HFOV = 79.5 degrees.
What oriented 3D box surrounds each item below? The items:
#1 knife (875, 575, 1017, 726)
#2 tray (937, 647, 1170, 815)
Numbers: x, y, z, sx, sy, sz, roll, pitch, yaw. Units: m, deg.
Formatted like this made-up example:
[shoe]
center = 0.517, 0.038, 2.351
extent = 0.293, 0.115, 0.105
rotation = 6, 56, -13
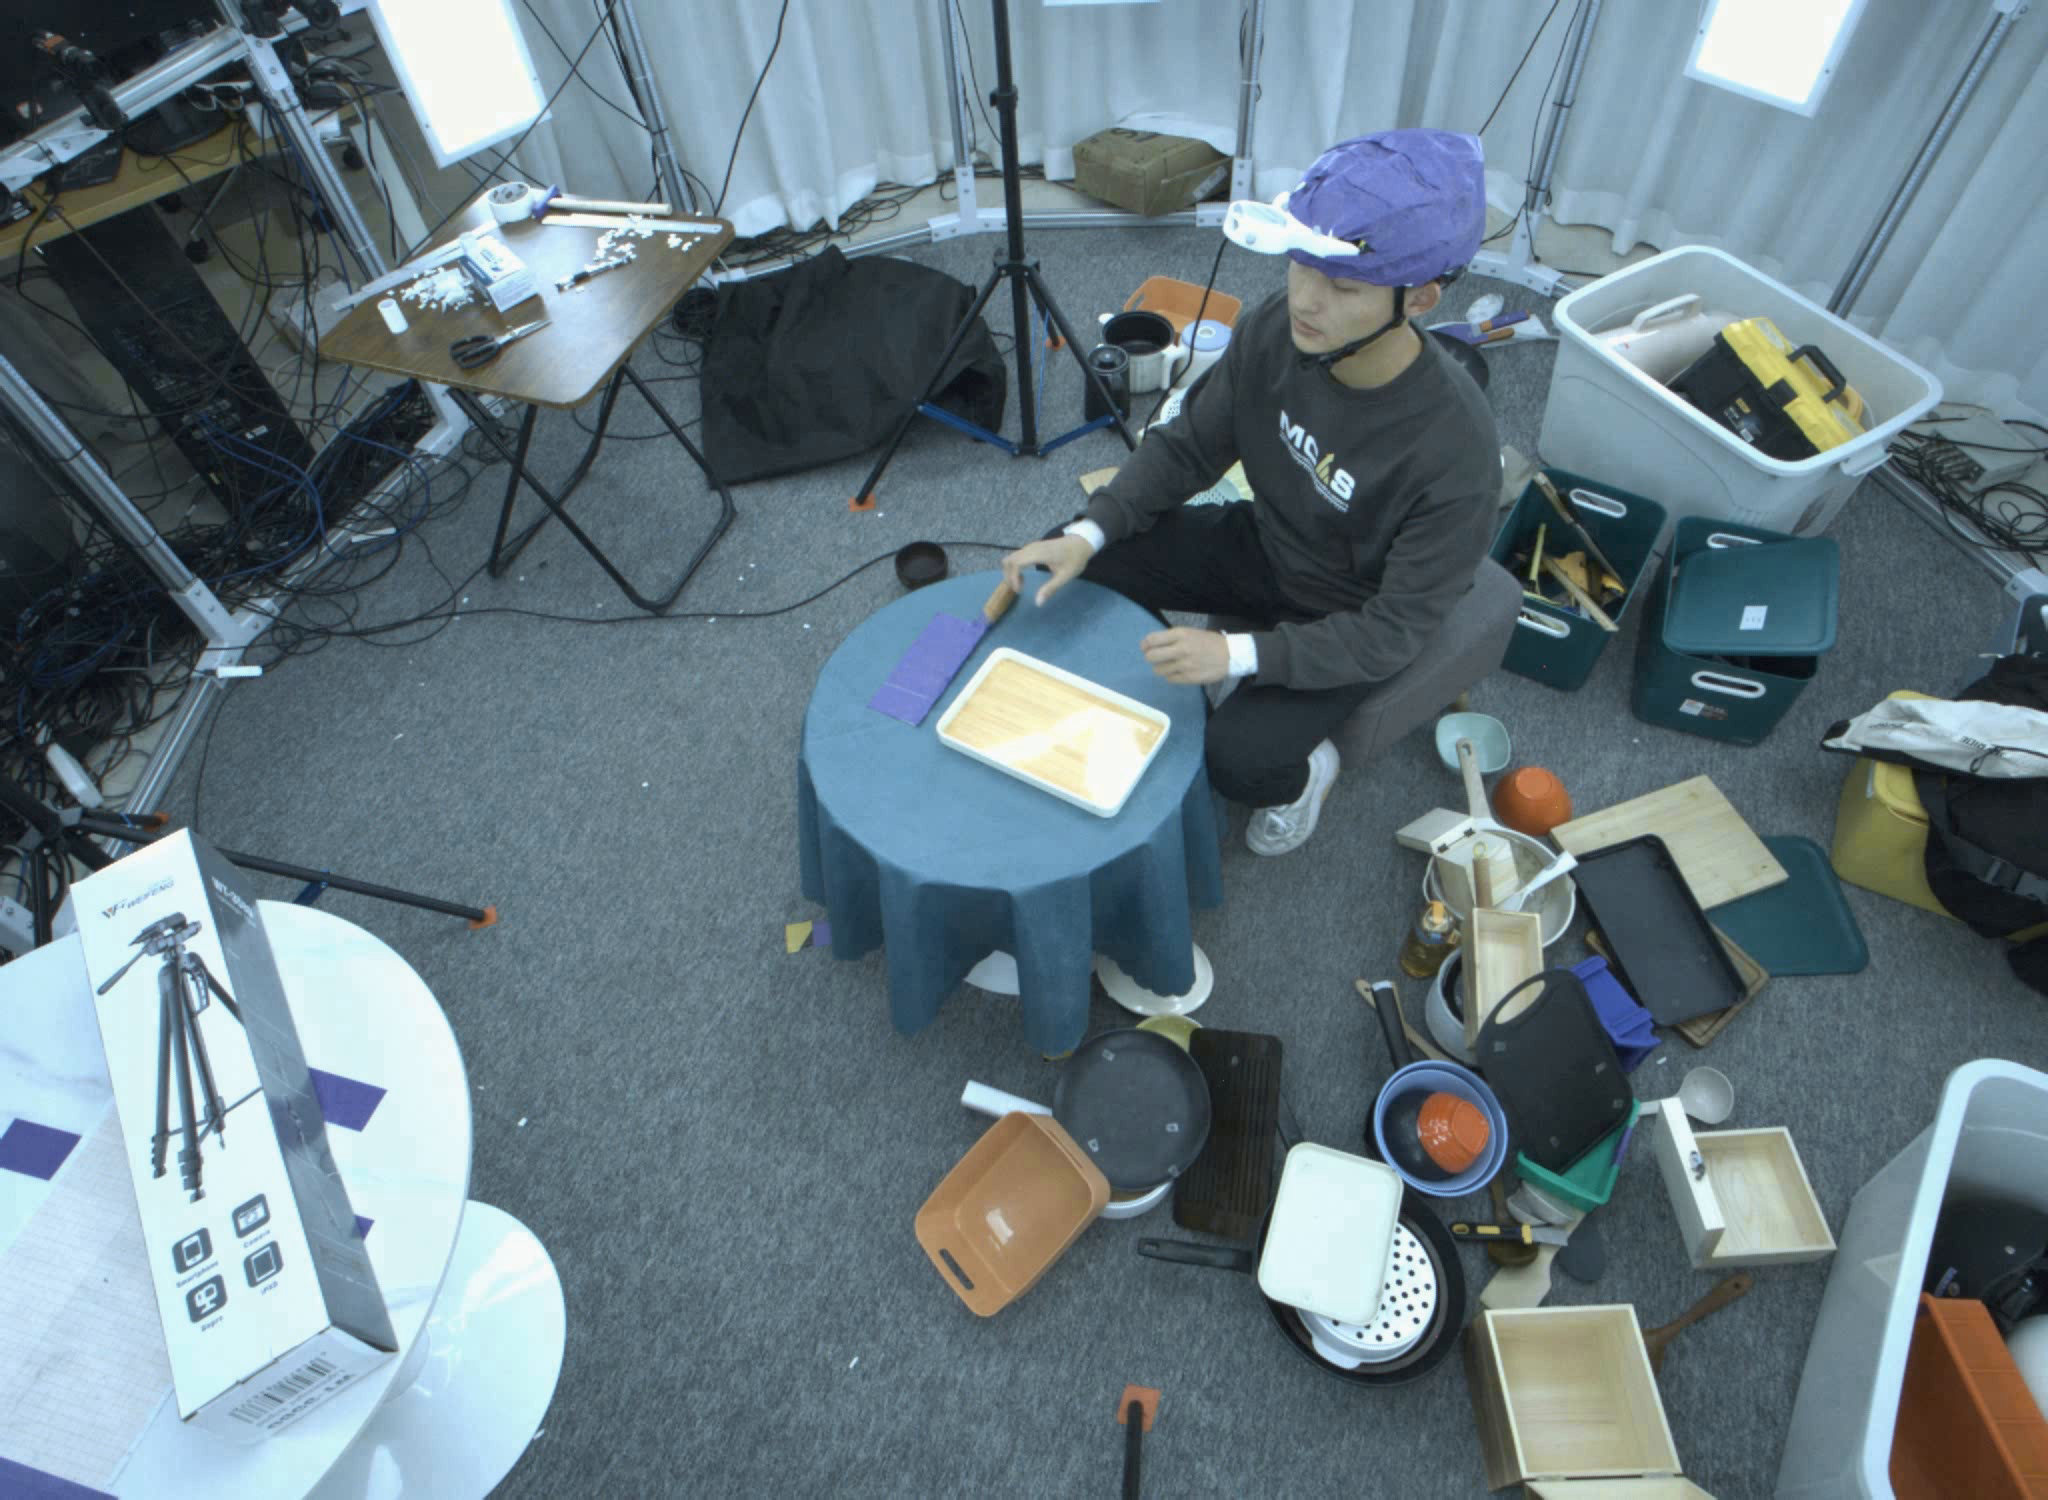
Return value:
[knife]
center = -0.122, -0.168, 1.901
extent = 0.102, 0.032, 0.316
rotation = 23, 59, 17
[tray]
center = 0.043, -0.033, 1.801
extent = 0.296, 0.028, 0.192
rotation = 25, 58, 18
